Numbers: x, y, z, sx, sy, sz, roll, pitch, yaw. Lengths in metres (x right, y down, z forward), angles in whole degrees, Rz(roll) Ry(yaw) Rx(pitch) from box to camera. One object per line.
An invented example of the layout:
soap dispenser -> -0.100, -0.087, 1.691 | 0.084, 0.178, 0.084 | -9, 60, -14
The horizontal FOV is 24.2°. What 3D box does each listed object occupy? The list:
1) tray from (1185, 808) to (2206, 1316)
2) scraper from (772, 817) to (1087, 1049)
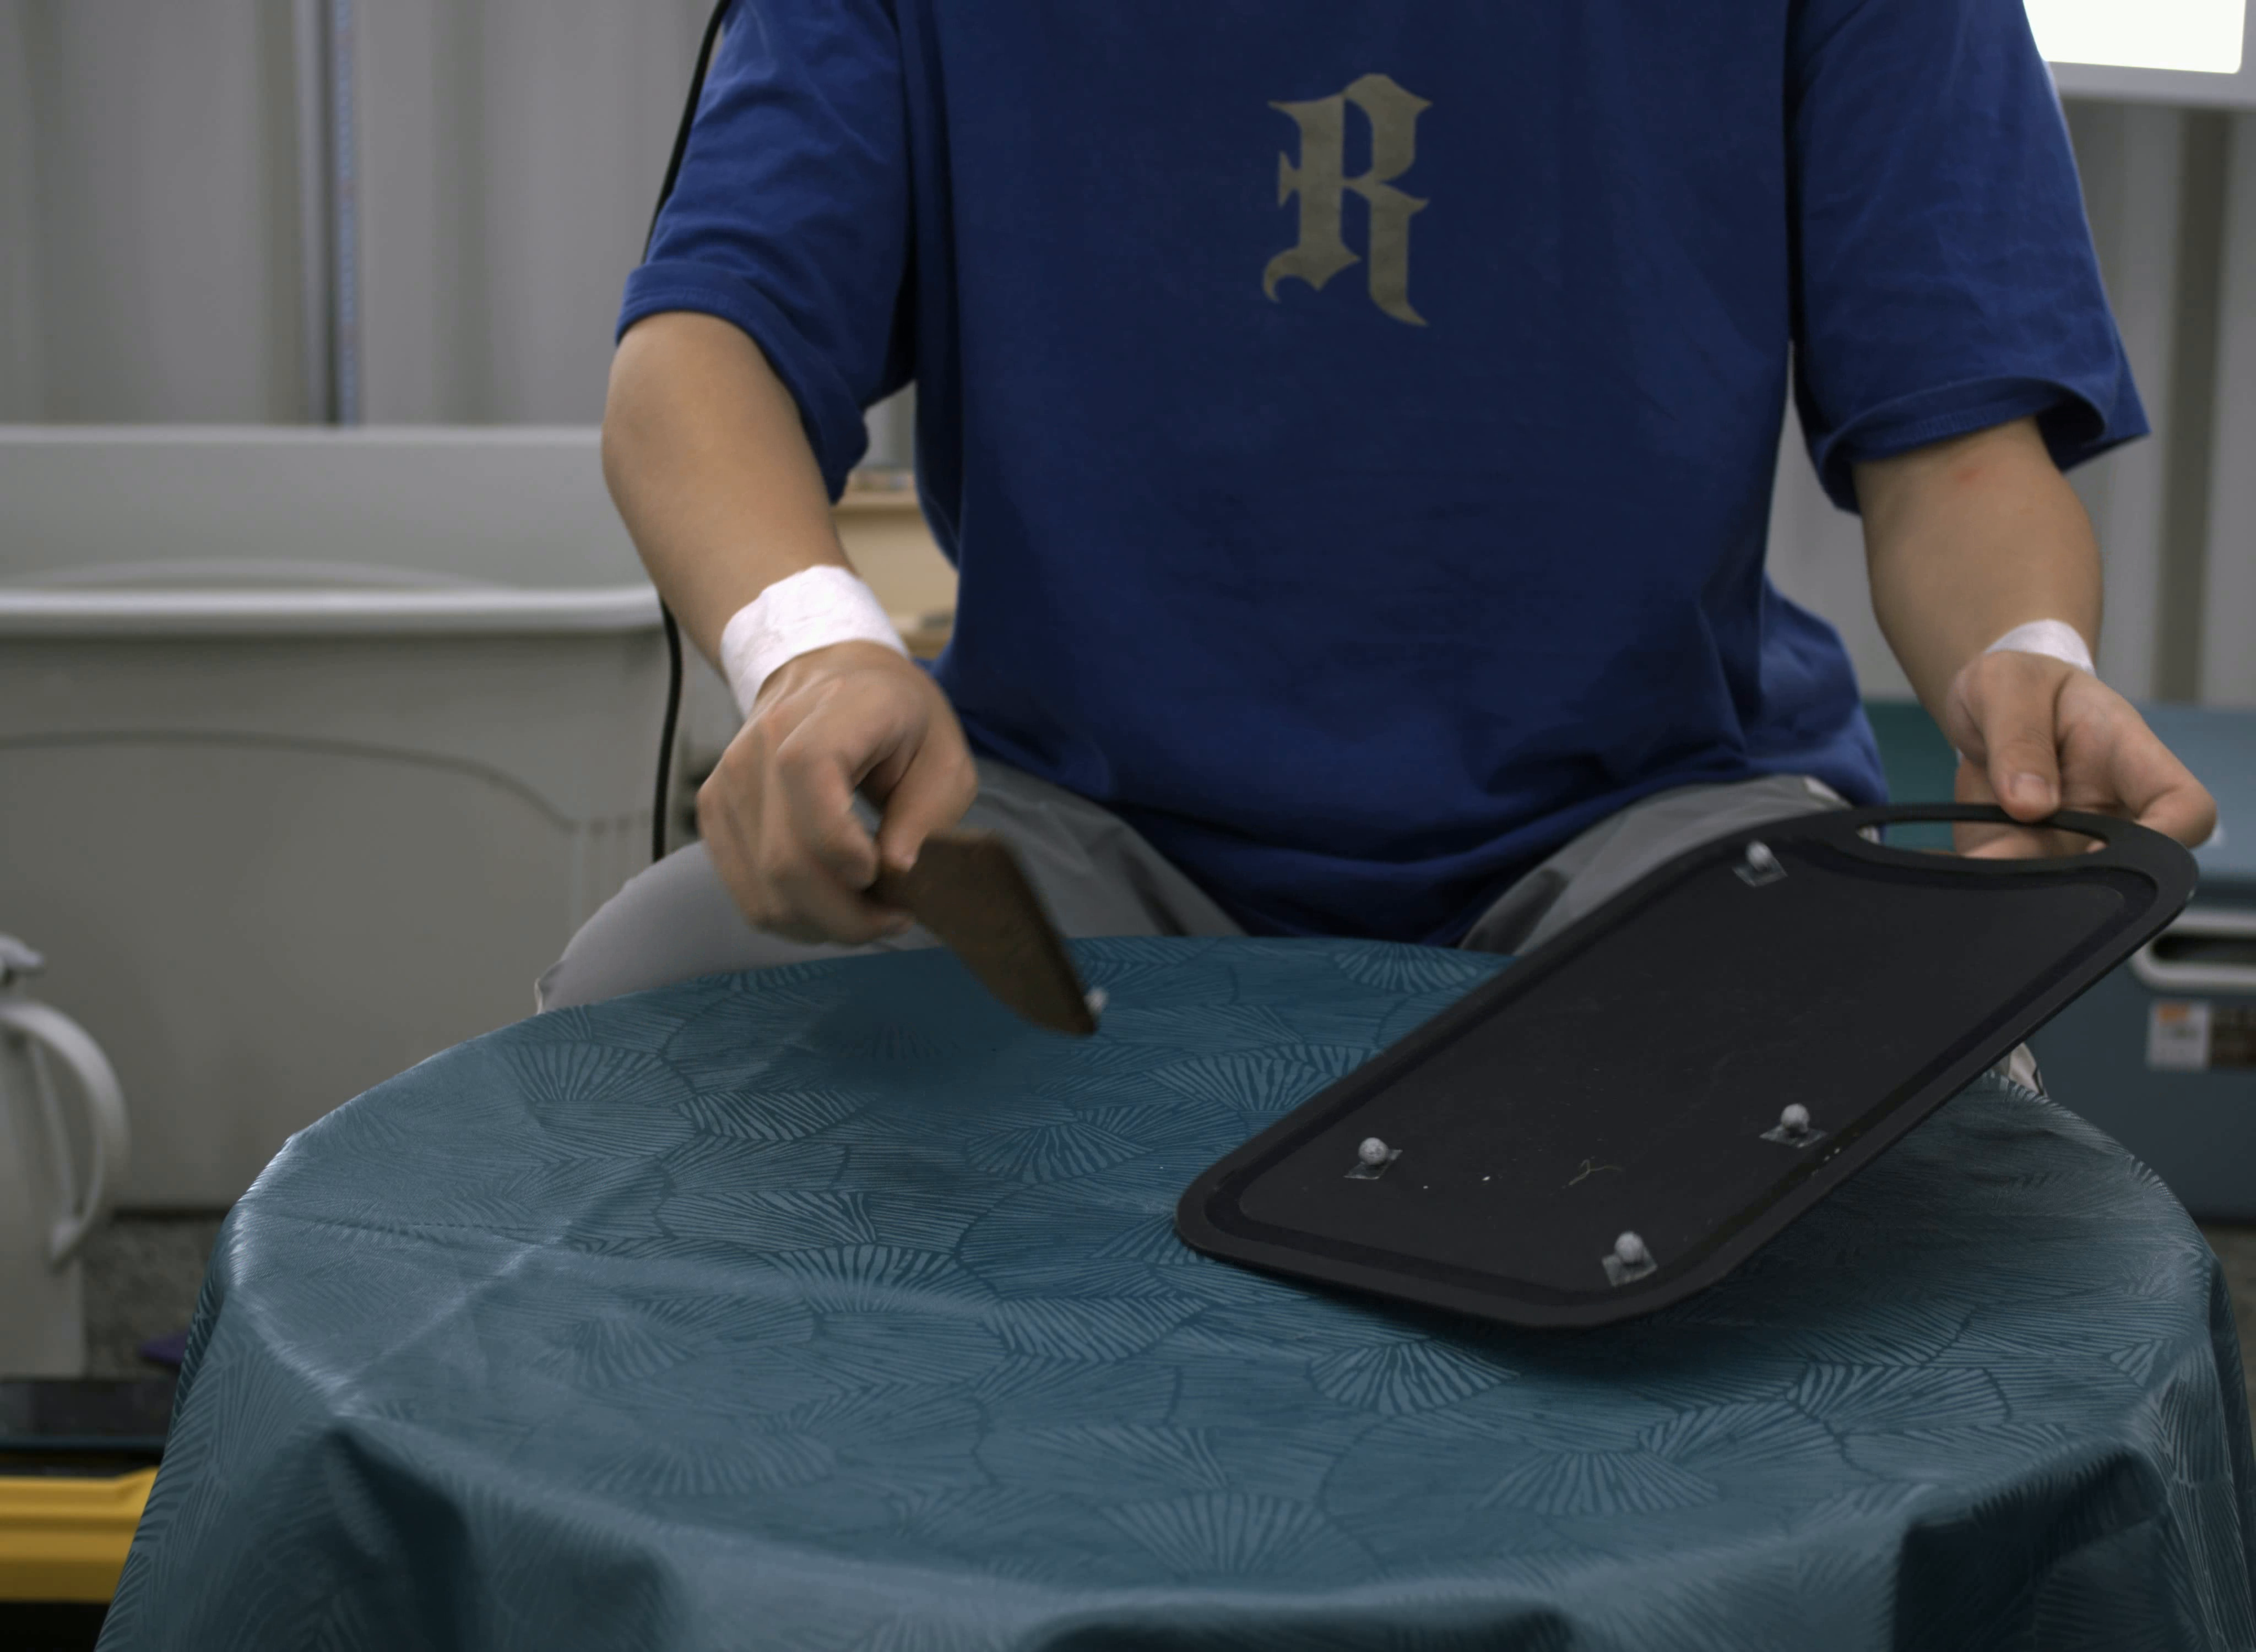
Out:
tray -> 0.180, 0.062, 1.615 | 0.326, 0.010, 0.208 | -31, 24, -36
scraper -> -0.071, 0.024, 1.671 | 0.011, 0.076, 0.209 | -36, 21, -15
